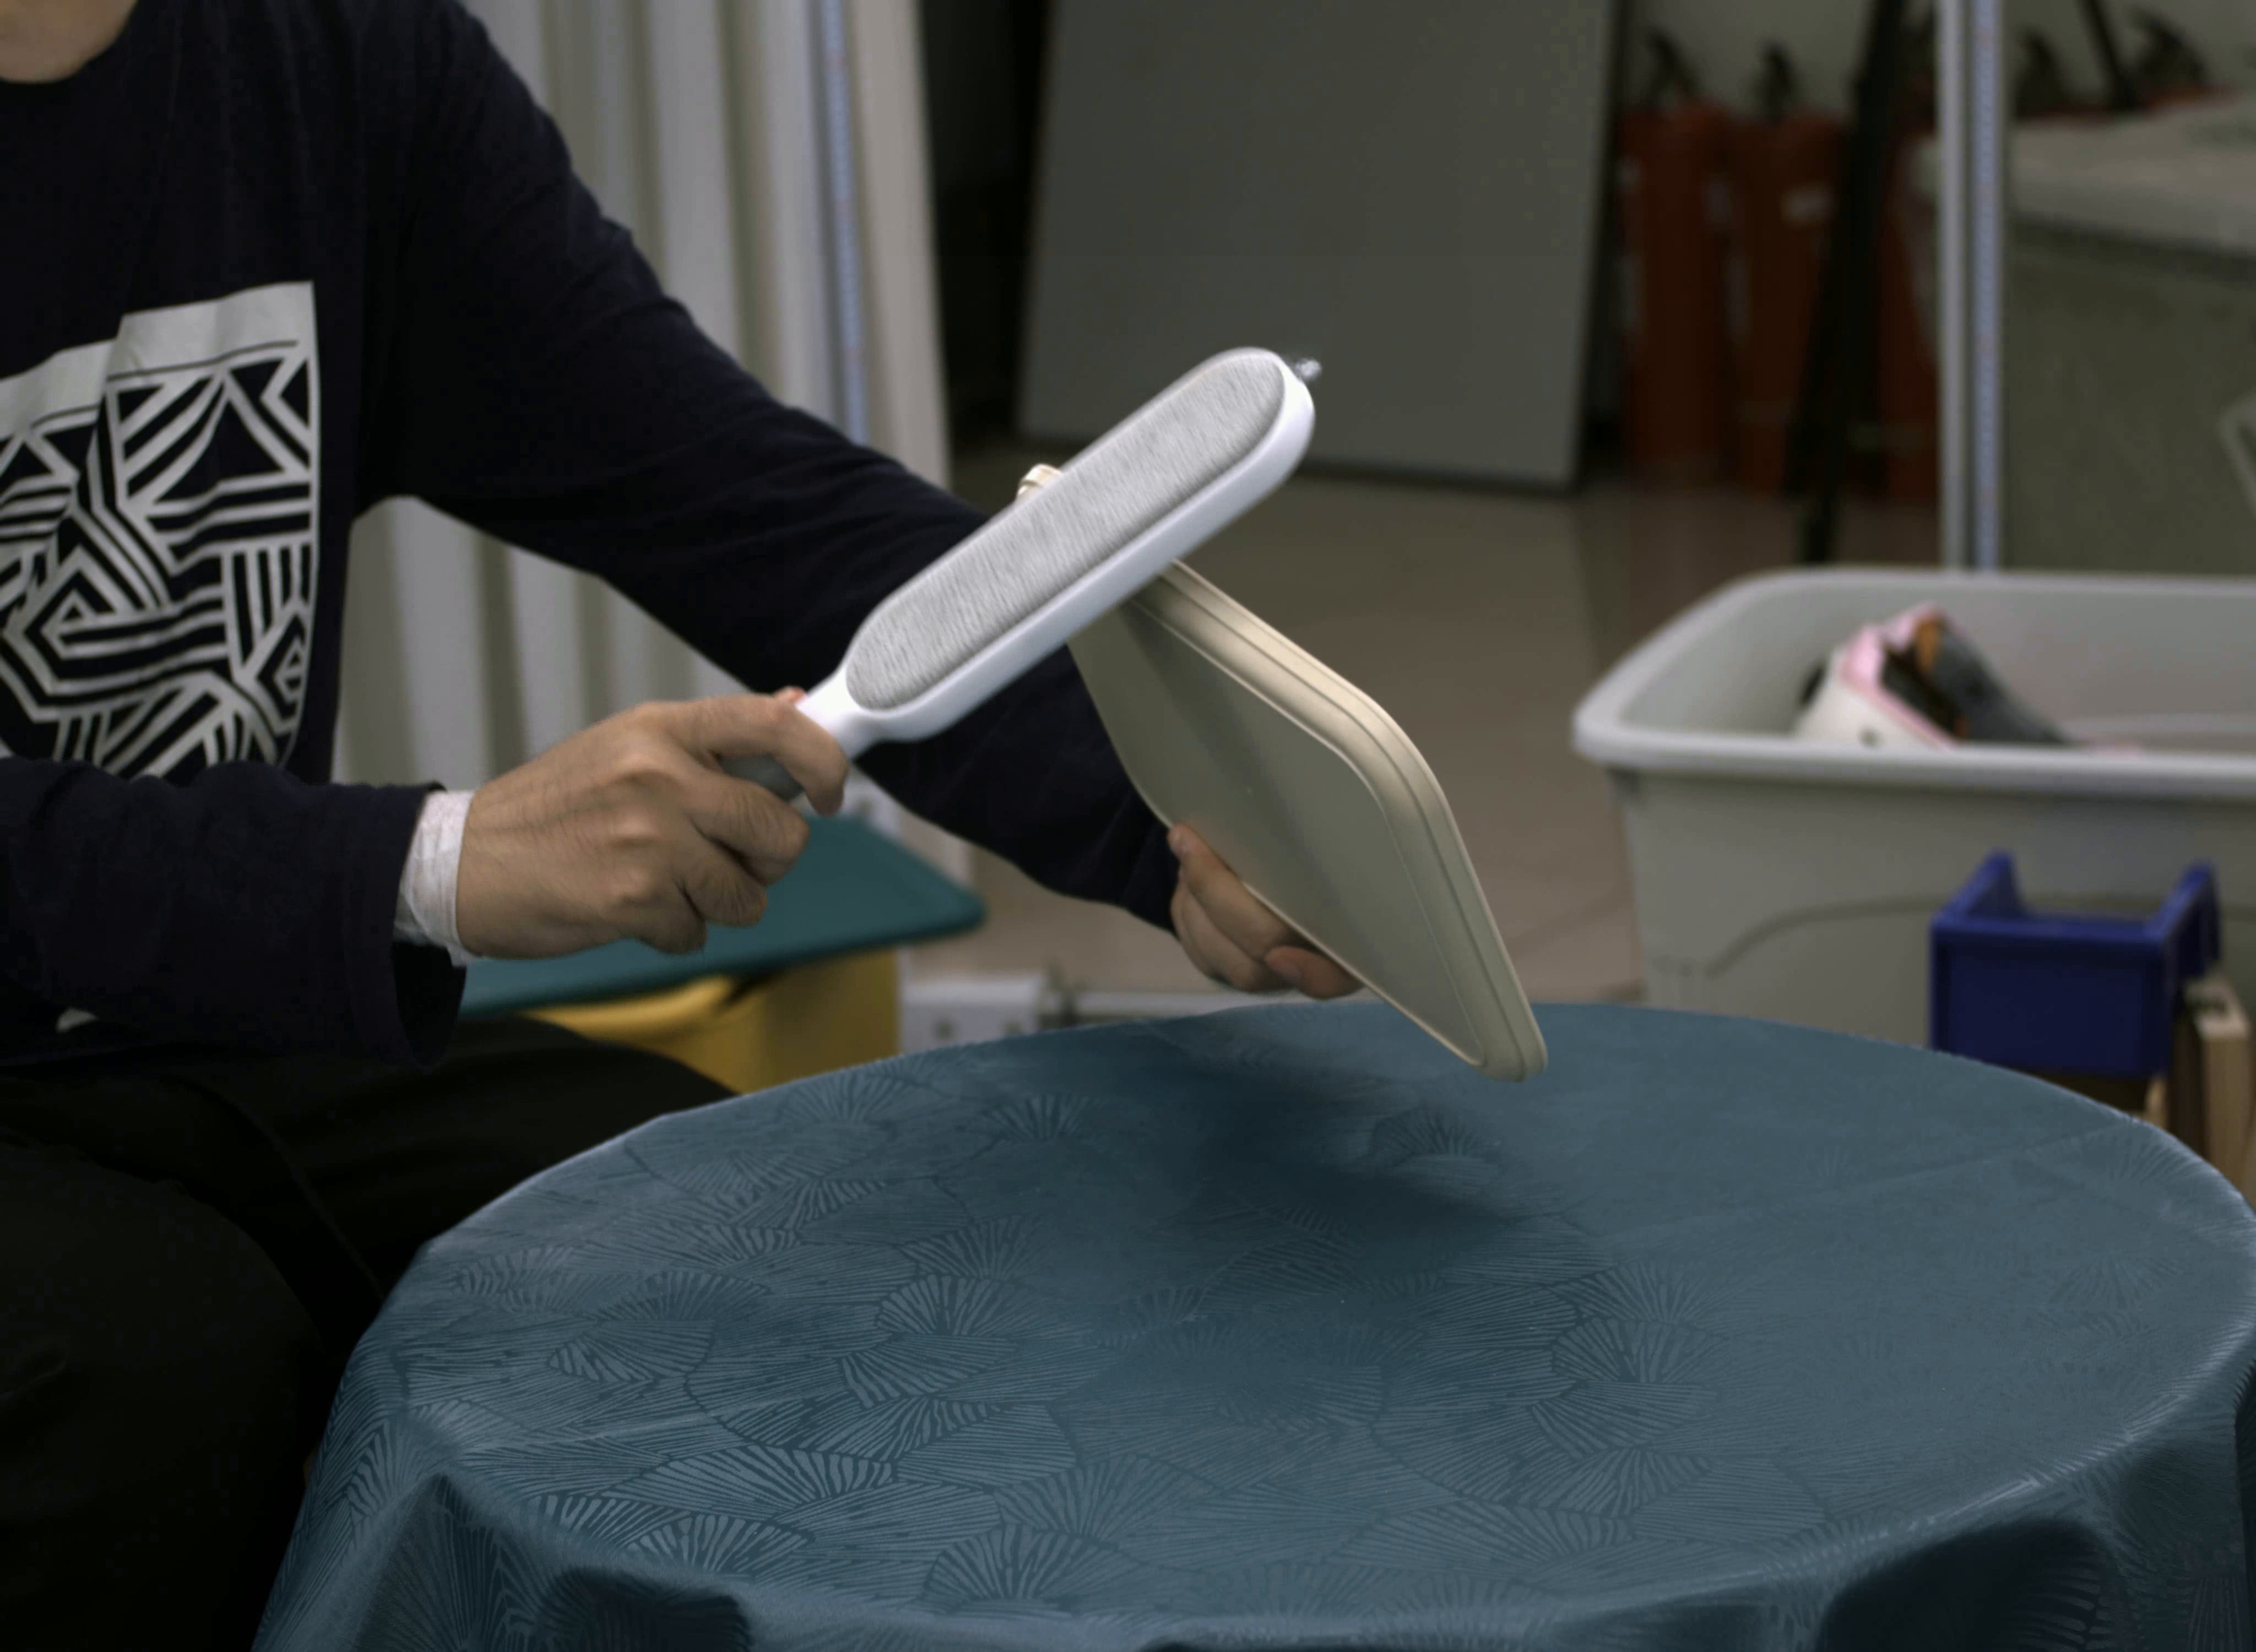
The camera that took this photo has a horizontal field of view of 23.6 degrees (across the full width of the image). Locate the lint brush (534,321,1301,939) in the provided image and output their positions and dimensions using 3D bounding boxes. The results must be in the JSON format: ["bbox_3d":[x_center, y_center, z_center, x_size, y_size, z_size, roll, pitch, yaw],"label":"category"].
[{"bbox_3d":[-0.070,-0.059,1.717,0.309,0.020,0.061,-37,45,14],"label":"lint brush"}]

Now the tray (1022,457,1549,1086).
[{"bbox_3d":[0.045,-0.016,1.751,0.017,0.171,0.242,-36,40,-14],"label":"tray"}]
